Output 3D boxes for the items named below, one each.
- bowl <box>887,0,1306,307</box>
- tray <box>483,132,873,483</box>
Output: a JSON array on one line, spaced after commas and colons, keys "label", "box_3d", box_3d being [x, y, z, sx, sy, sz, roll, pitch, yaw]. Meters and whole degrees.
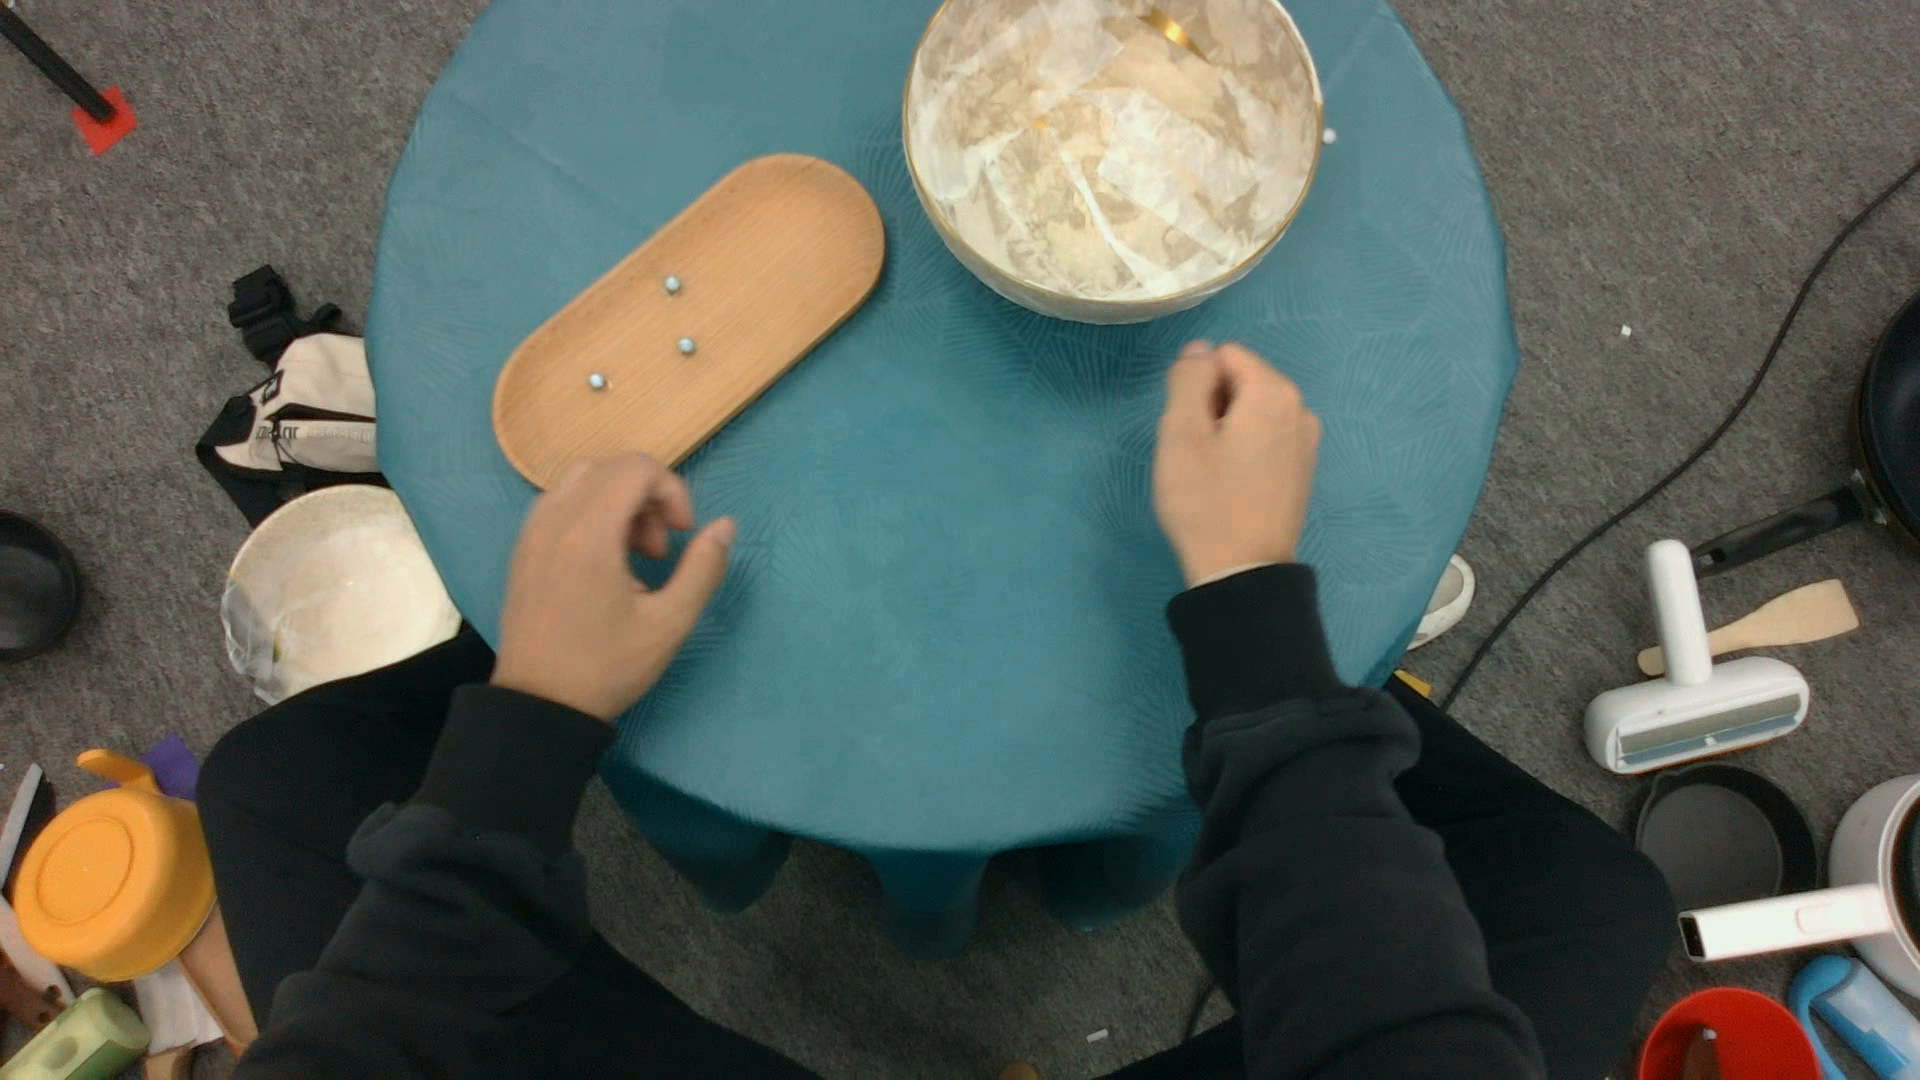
[{"label": "bowl", "box_3d": [0.061, -0.201, 0.698, 0.215, 0.094, 0.215, 1, 76, -3]}, {"label": "tray", "box_3d": [-0.143, -0.121, 0.711, 0.102, 0.020, 0.232, 45, 77, 7]}]
